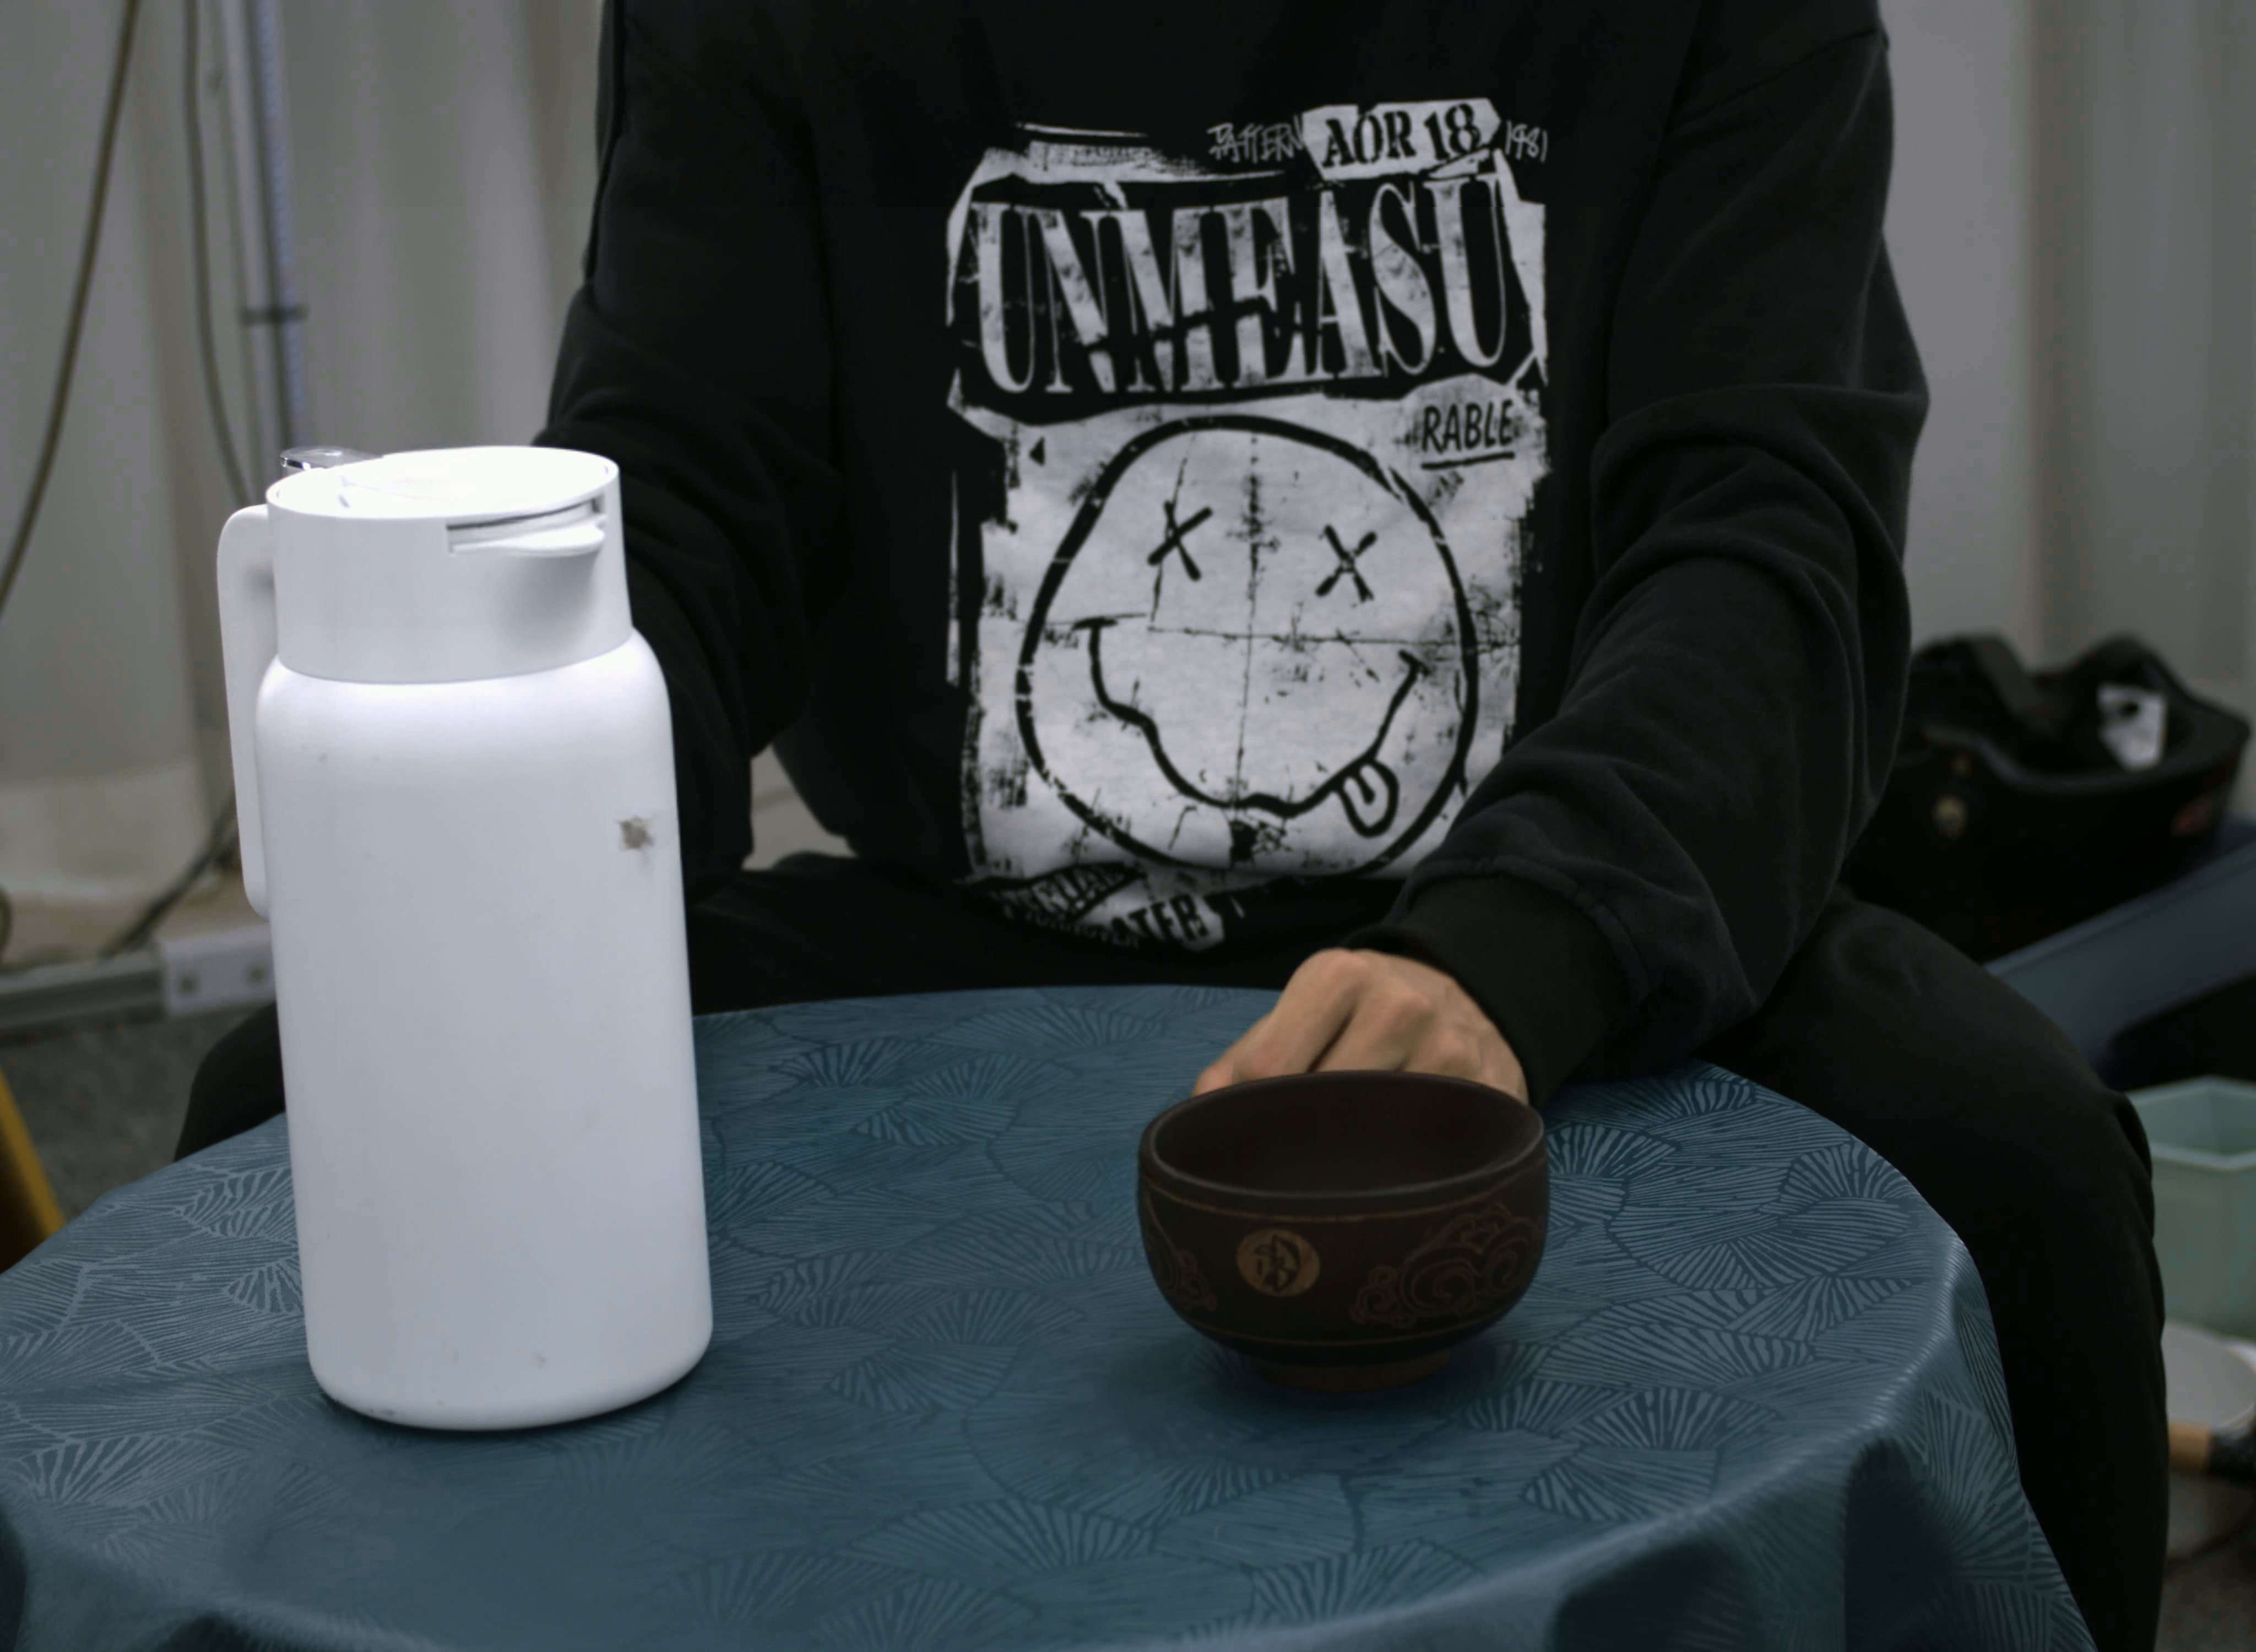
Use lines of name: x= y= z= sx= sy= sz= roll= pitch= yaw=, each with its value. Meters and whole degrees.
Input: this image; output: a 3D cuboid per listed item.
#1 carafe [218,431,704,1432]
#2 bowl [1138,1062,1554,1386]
carafe: x=-0.197 y=0.027 z=1.566 sx=0.123 sy=0.268 sz=0.174 roll=-16 pitch=19 yaw=-40
bowl: x=0.062 y=0.117 z=1.551 sx=0.117 sy=0.069 sz=0.119 roll=-3 pitch=14 yaw=0
